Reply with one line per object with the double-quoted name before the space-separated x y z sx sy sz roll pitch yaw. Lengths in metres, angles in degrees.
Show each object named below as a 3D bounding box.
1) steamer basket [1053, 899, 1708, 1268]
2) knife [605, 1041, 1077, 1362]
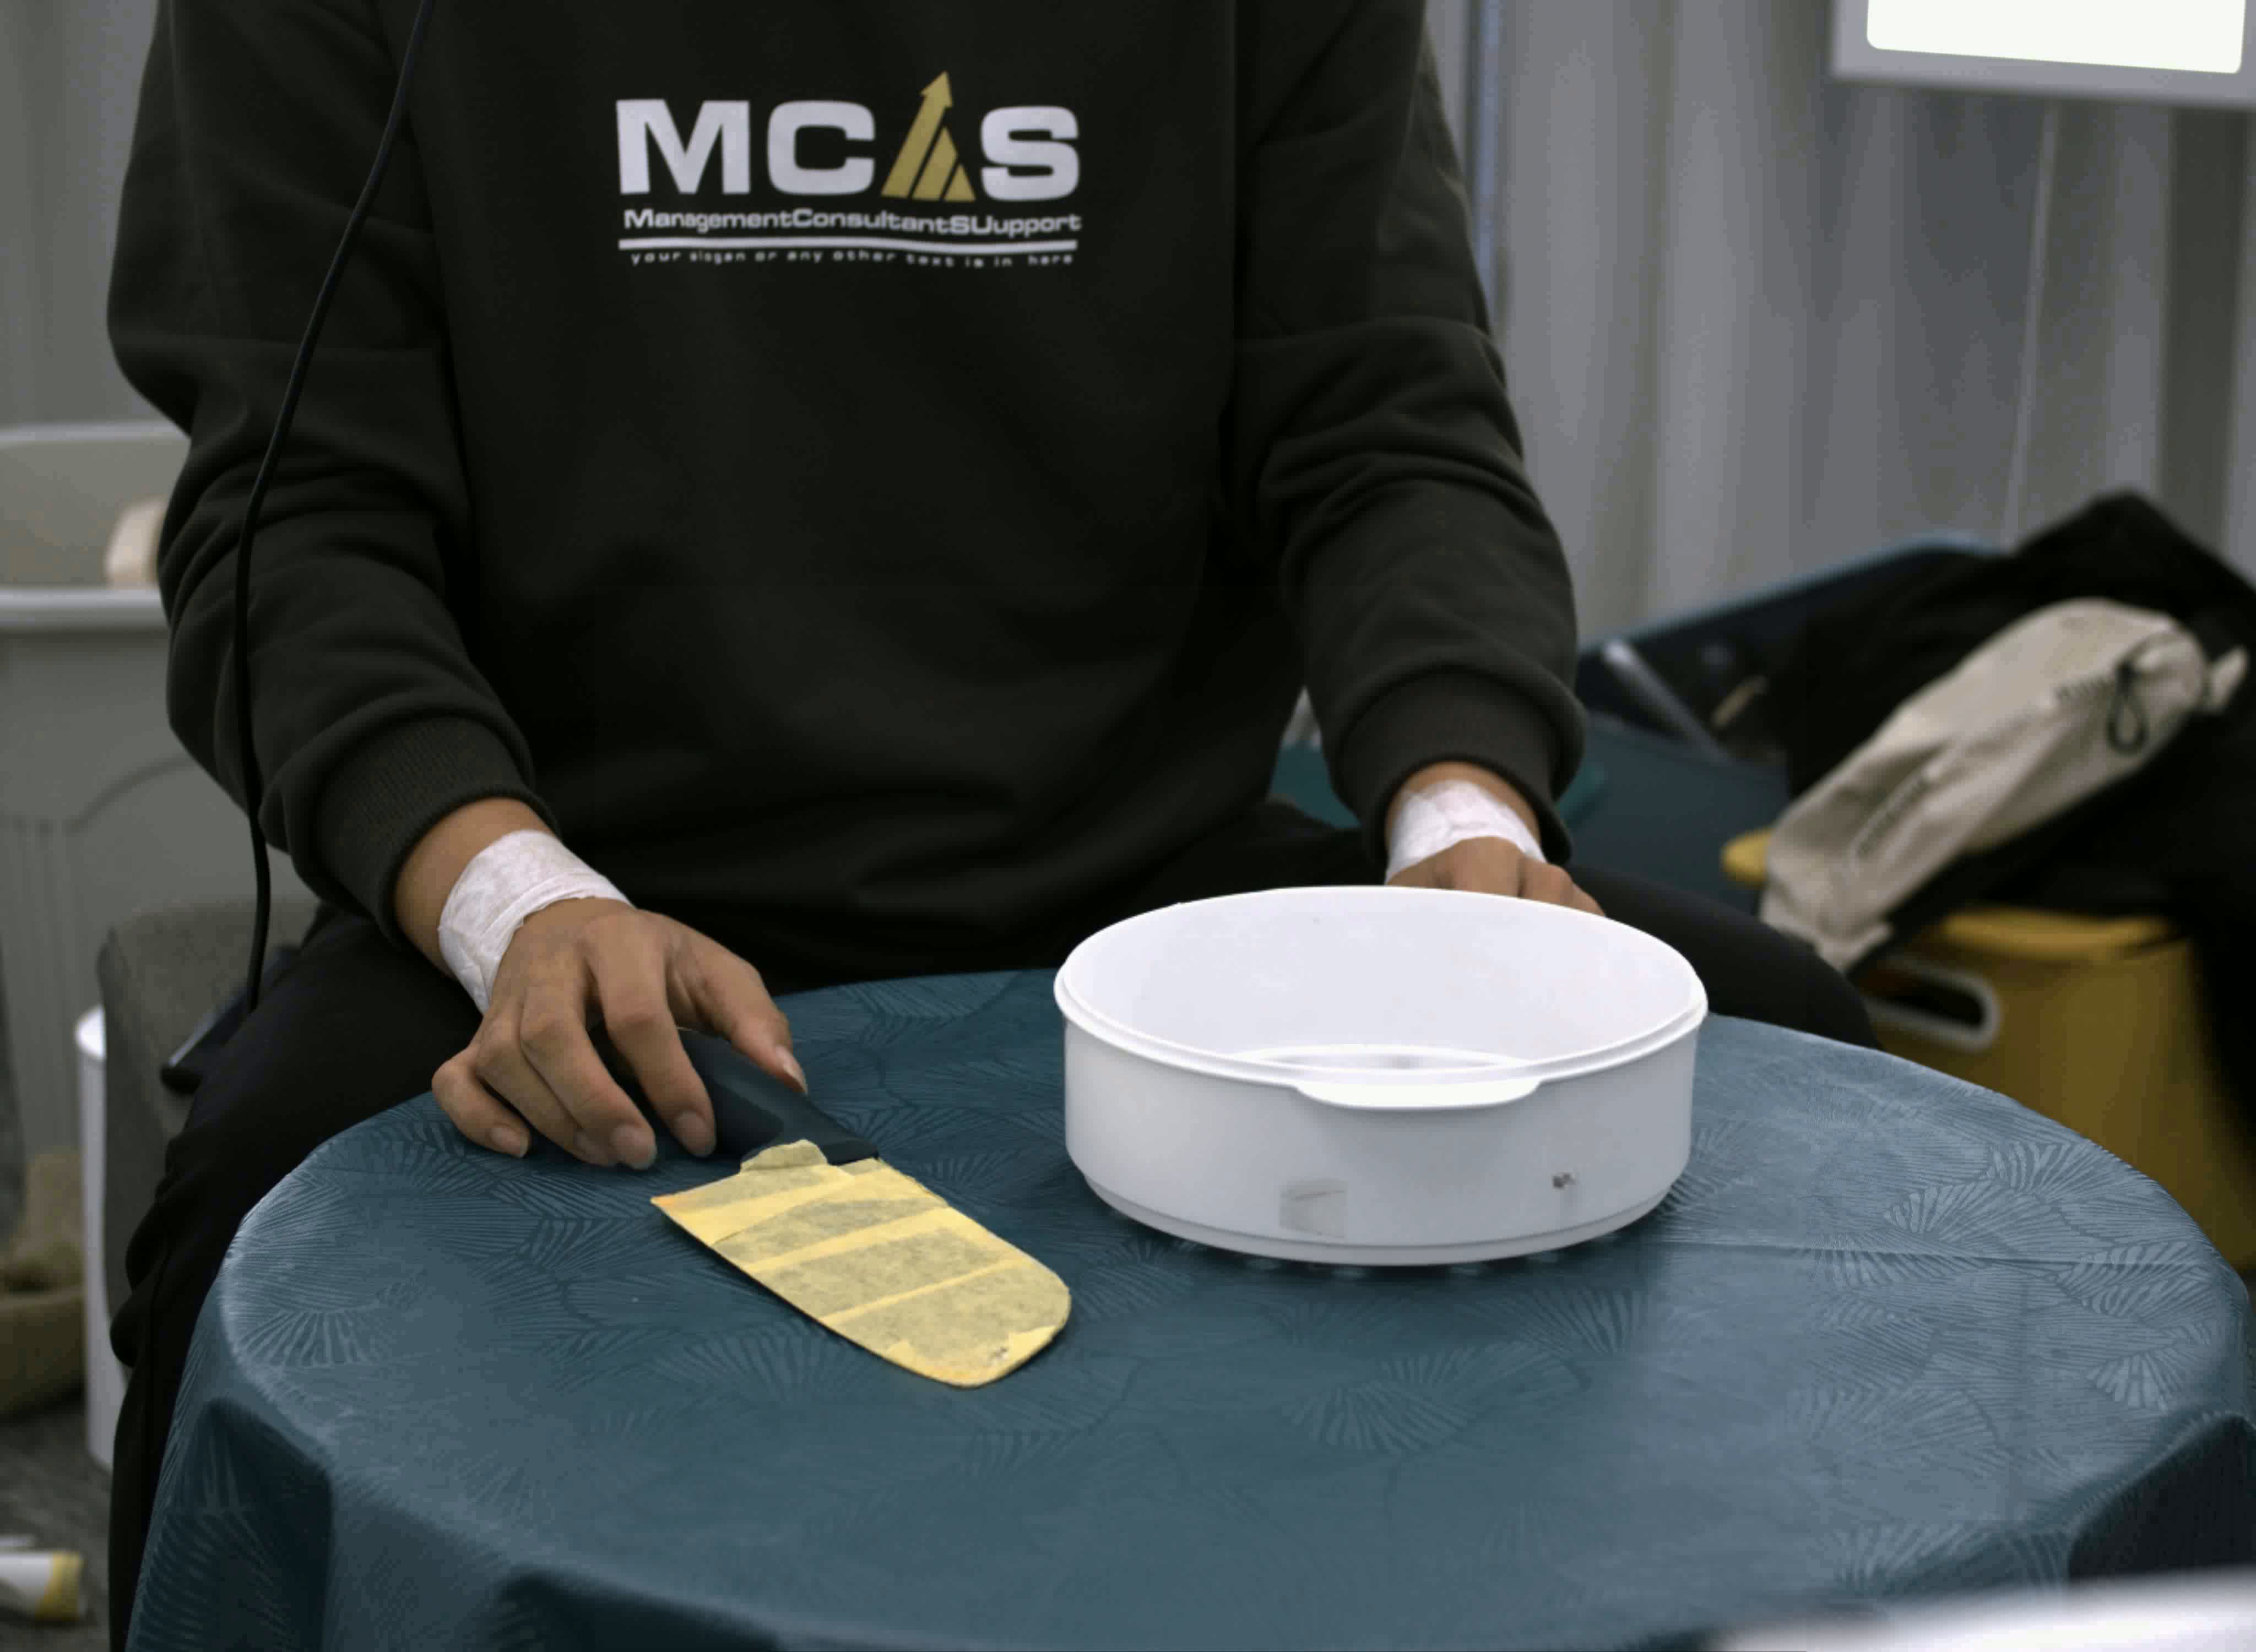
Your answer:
"steamer basket" 0.077 0.079 1.623 0.201 0.070 0.229 0 14 -4
"knife" -0.101 0.114 1.589 0.081 0.027 0.286 -11 19 -28
